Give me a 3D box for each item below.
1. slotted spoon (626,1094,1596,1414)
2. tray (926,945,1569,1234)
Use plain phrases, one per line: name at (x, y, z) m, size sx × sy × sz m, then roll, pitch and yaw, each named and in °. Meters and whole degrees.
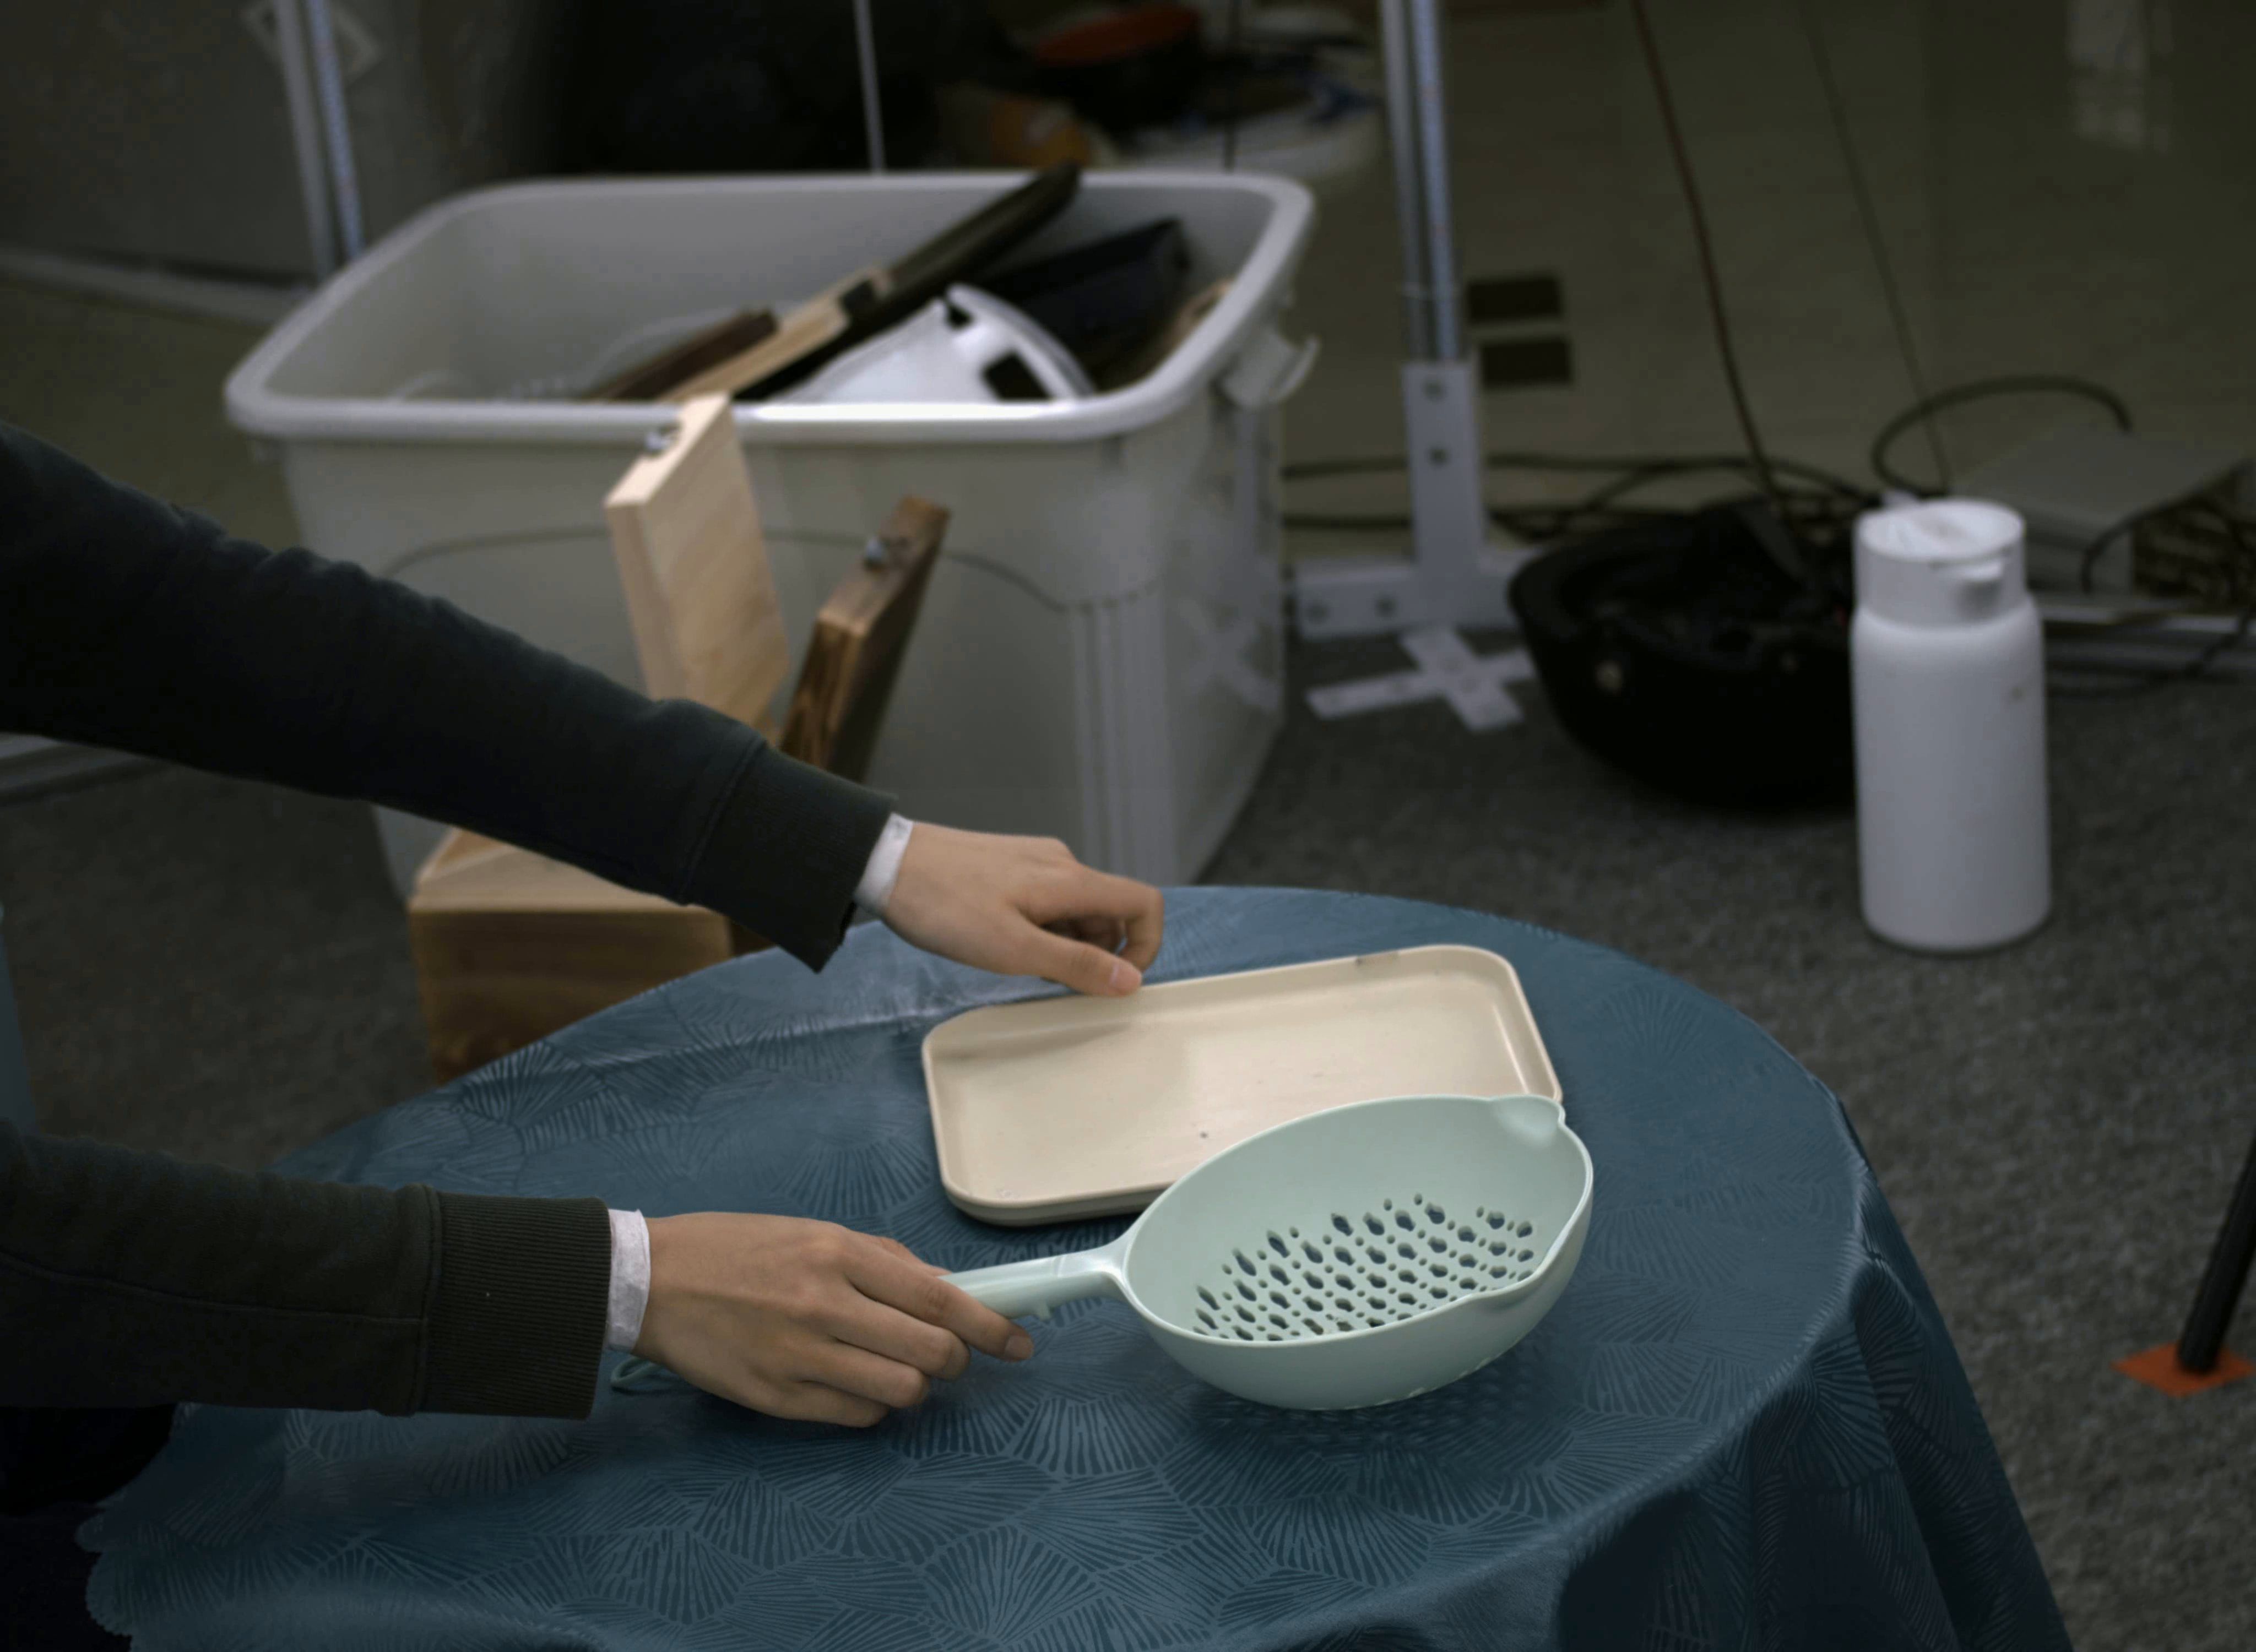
slotted spoon at (-0.010, 0.165, 2.022) m, size 0.358 × 0.076 × 0.167 m, roll -3°, pitch 25°, yaw 9°
tray at (0.044, 0.103, 2.201) m, size 0.239 × 0.018 × 0.169 m, roll -9°, pitch 25°, yaw -3°
